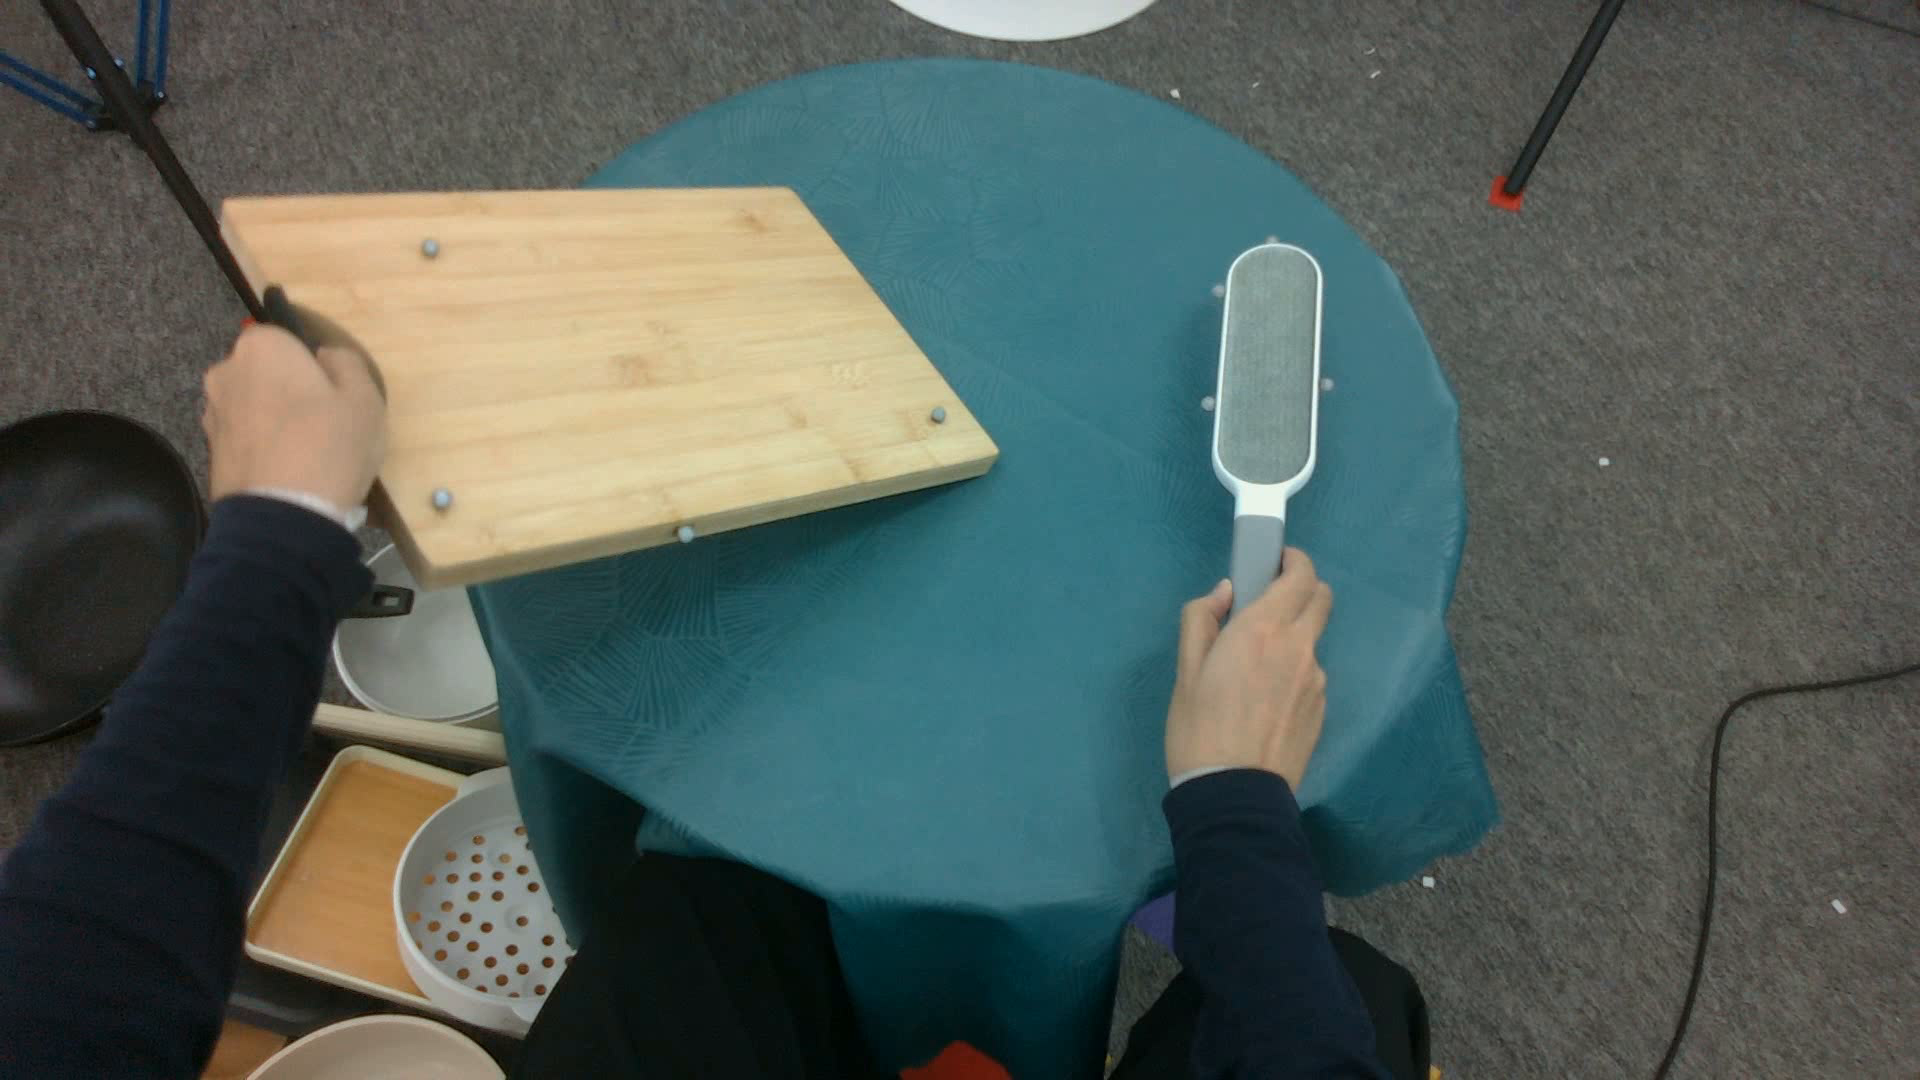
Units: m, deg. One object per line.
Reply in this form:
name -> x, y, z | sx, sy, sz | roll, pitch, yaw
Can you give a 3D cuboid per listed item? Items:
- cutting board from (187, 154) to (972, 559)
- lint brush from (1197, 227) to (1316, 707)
cutting board -> -0.178, -0.110, 0.724 | 0.350, 0.023, 0.251 | -13, 57, -46
lint brush -> 0.160, -0.052, 0.758 | 0.060, 0.021, 0.310 | 9, 62, 3
